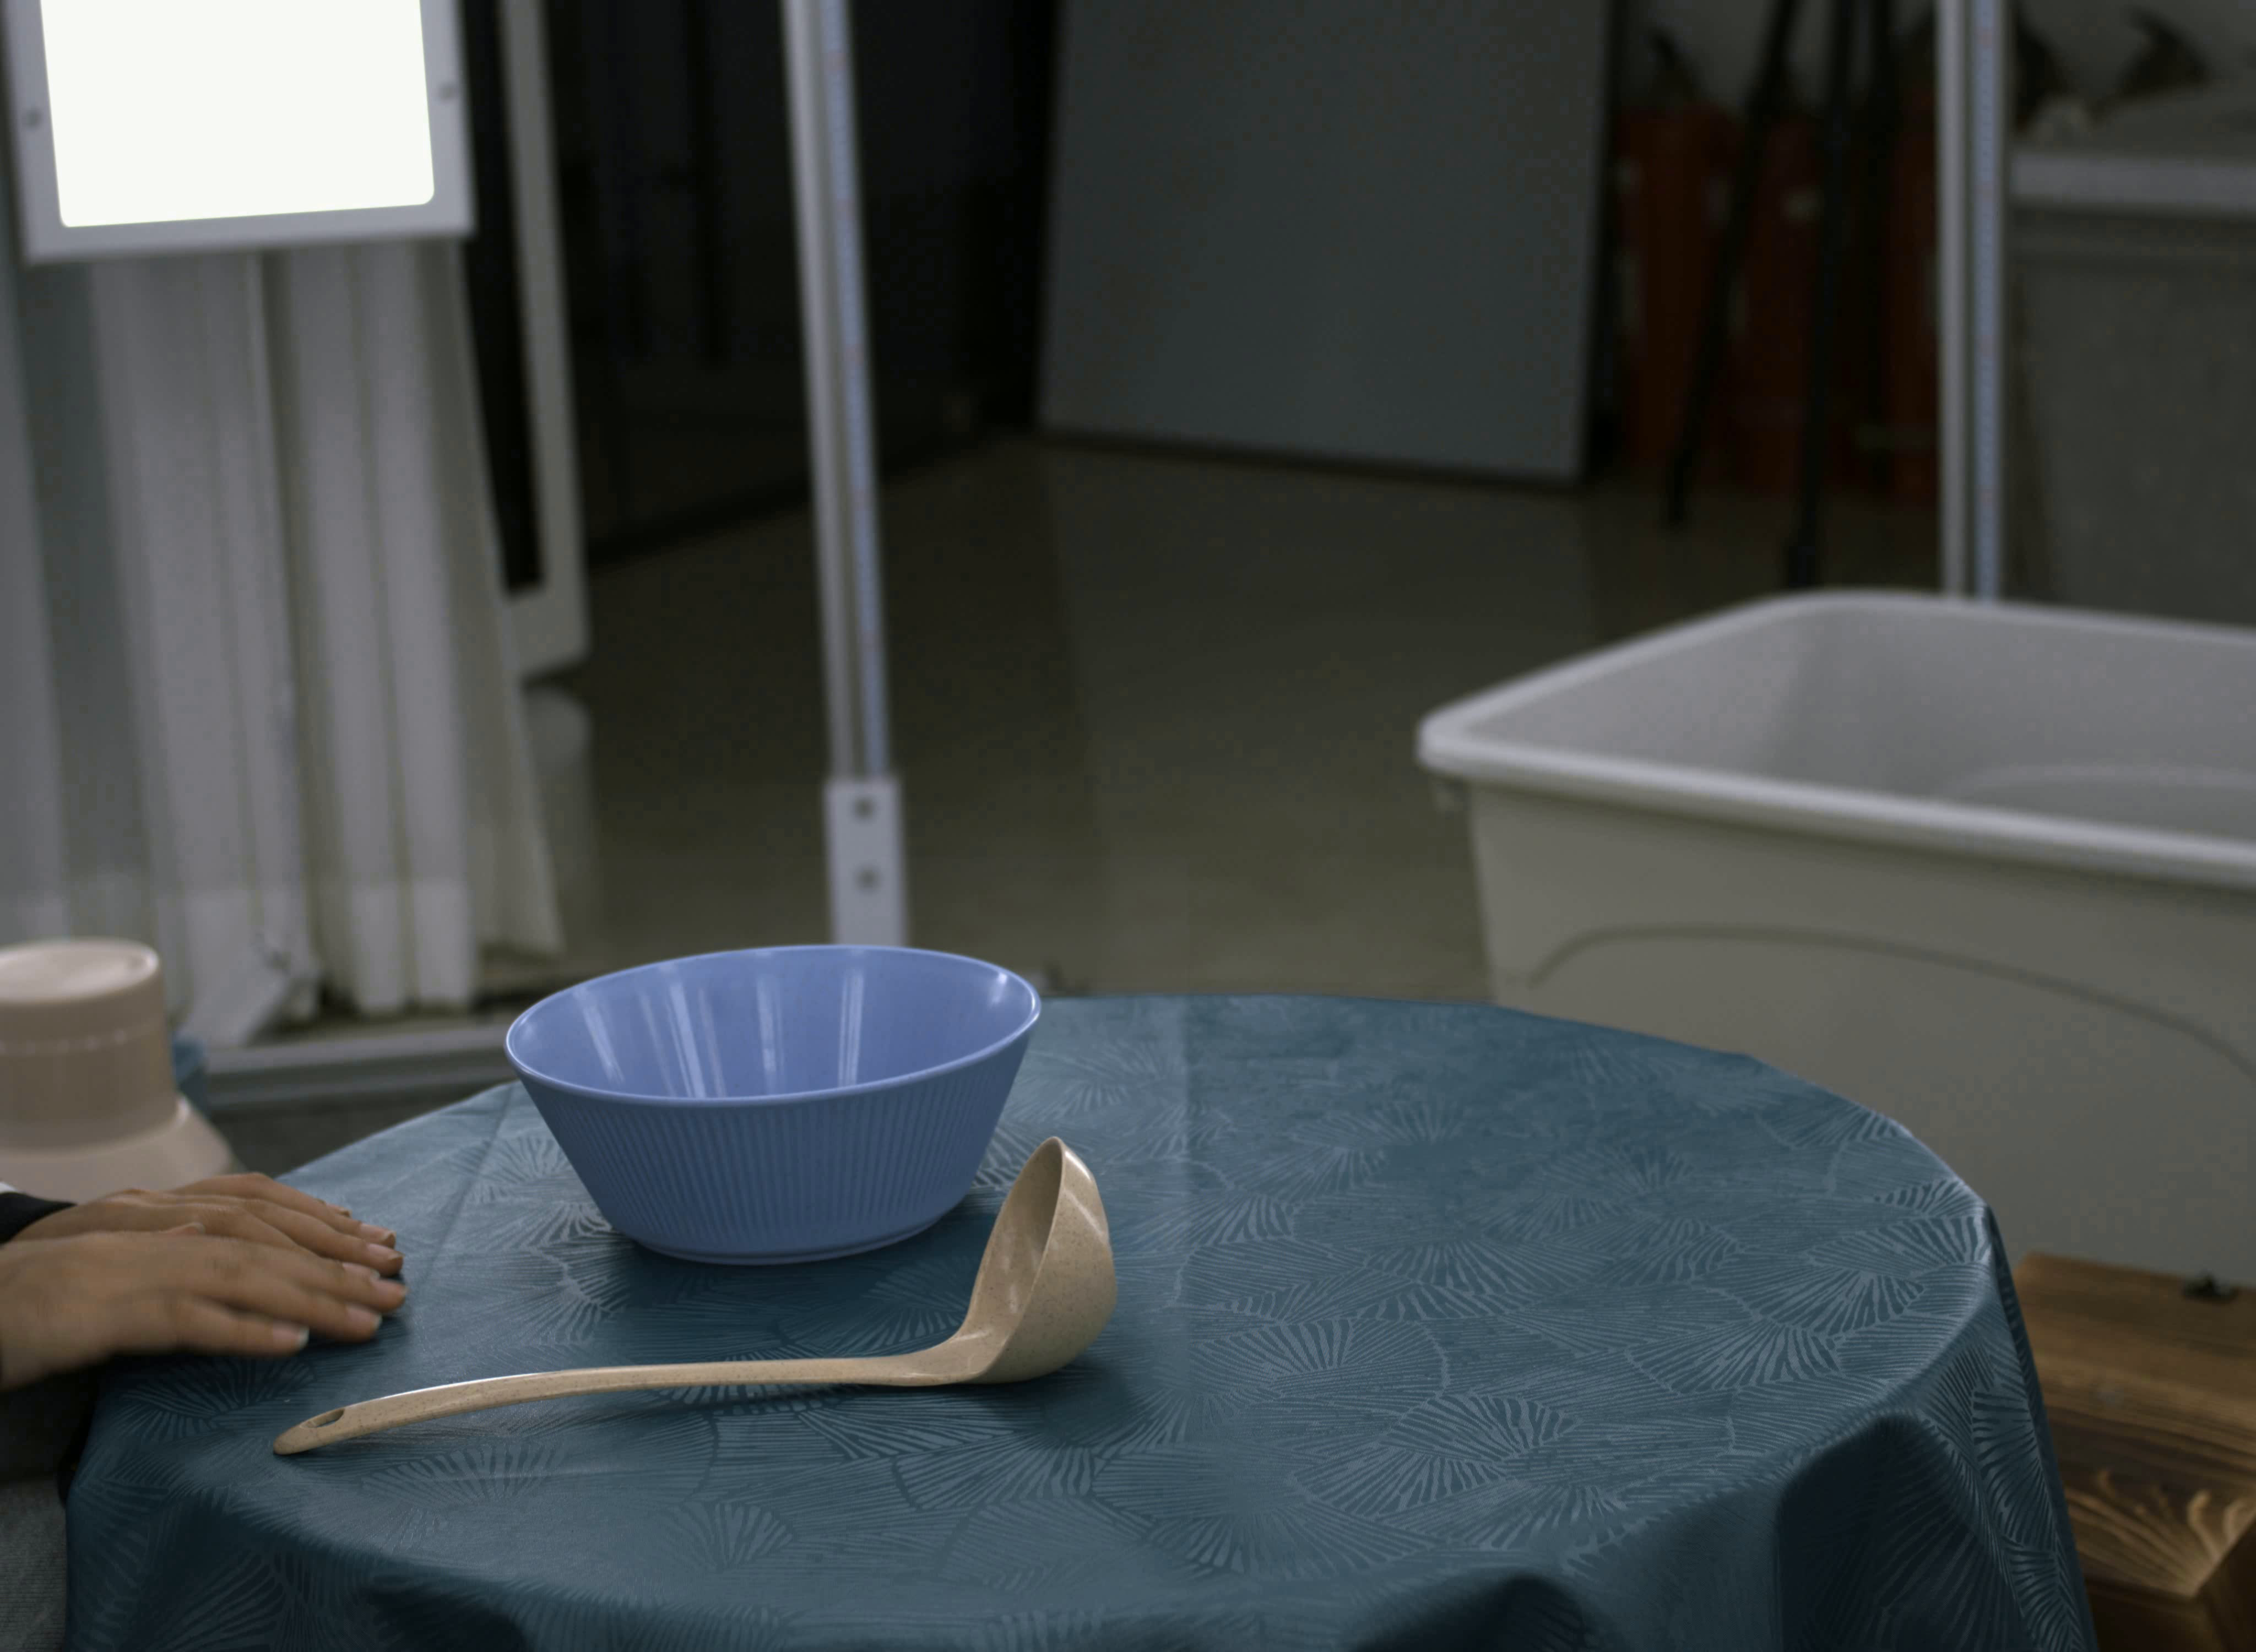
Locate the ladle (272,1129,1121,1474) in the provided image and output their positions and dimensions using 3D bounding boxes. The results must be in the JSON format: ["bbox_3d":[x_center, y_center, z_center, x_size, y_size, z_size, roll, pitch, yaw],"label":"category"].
[{"bbox_3d":[-0.128,0.138,1.584,0.250,0.073,0.072,-6,17,-8],"label":"ladle"}]

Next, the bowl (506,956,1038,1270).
[{"bbox_3d":[-0.113,0.096,1.761,0.174,0.071,0.176,-4,13,0],"label":"bowl"}]
